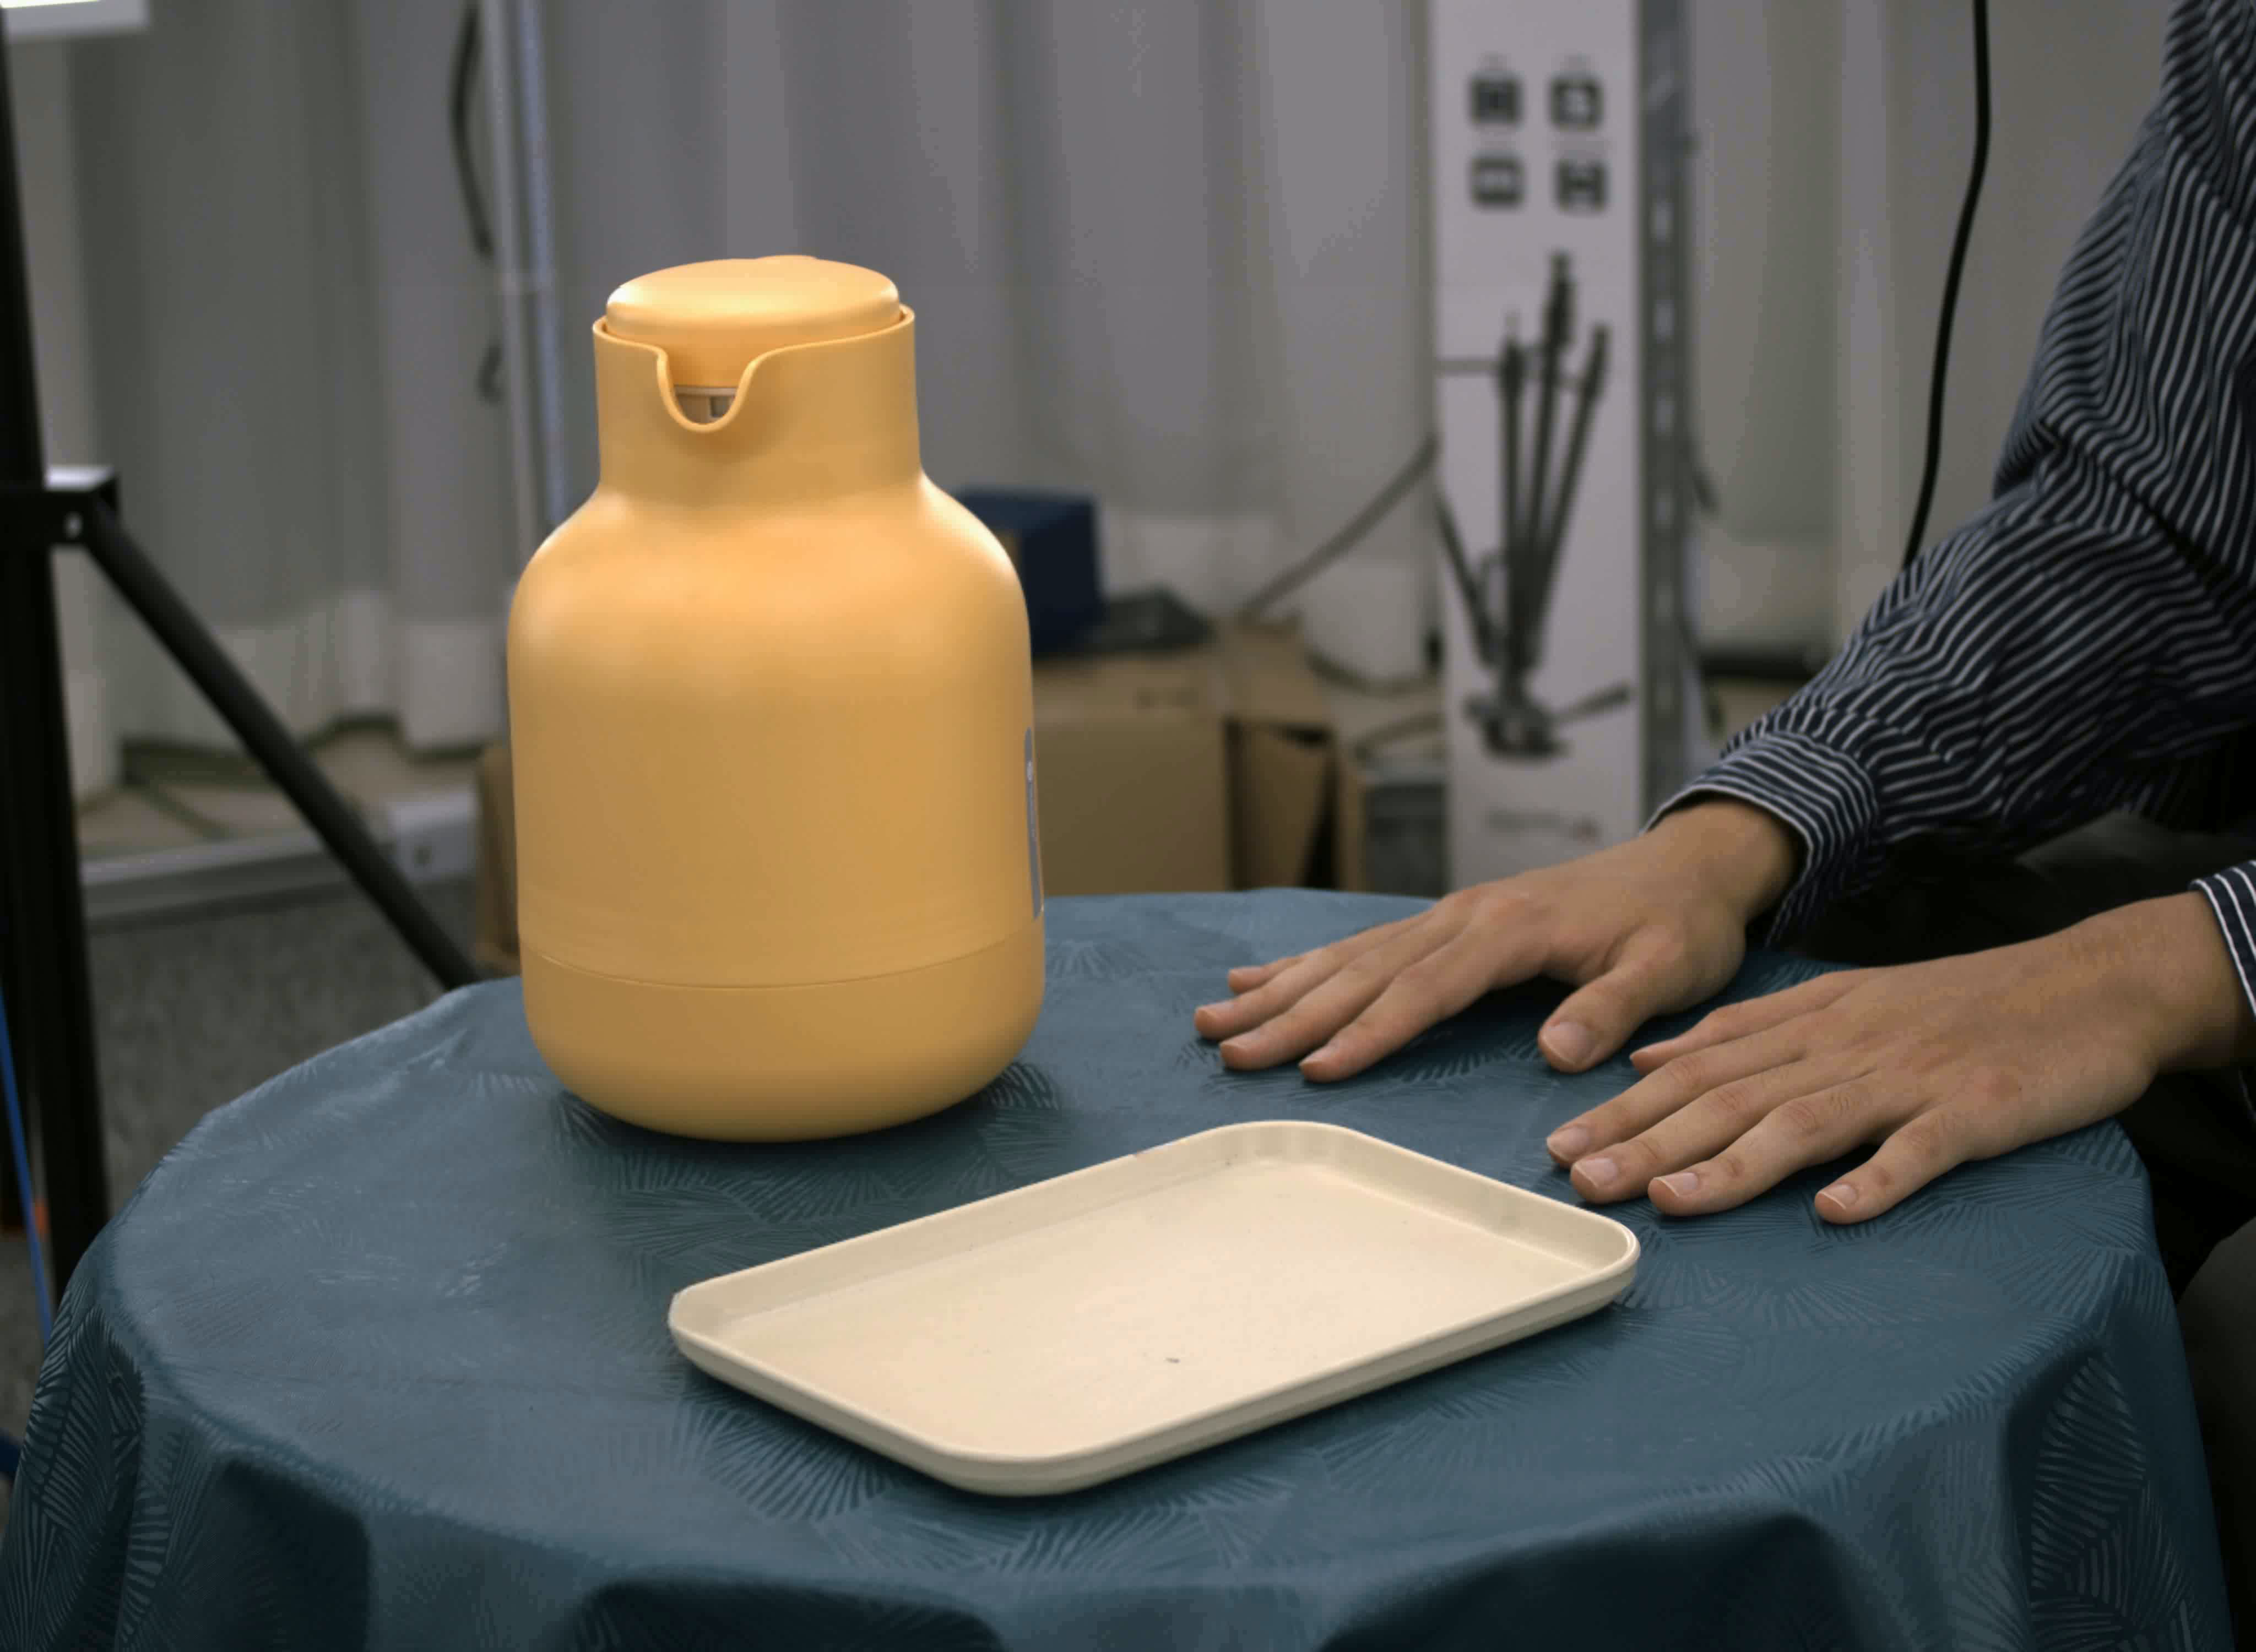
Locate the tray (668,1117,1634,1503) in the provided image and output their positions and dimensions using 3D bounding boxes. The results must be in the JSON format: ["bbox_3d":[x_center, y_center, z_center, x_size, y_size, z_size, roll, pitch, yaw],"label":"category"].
[{"bbox_3d":[0.008,0.131,1.451,0.234,0.017,0.175,-14,20,-36],"label":"tray"}]

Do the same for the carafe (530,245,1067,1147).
[{"bbox_3d":[-0.098,-0.048,1.646,0.163,0.260,0.202,1,16,7],"label":"carafe"}]
